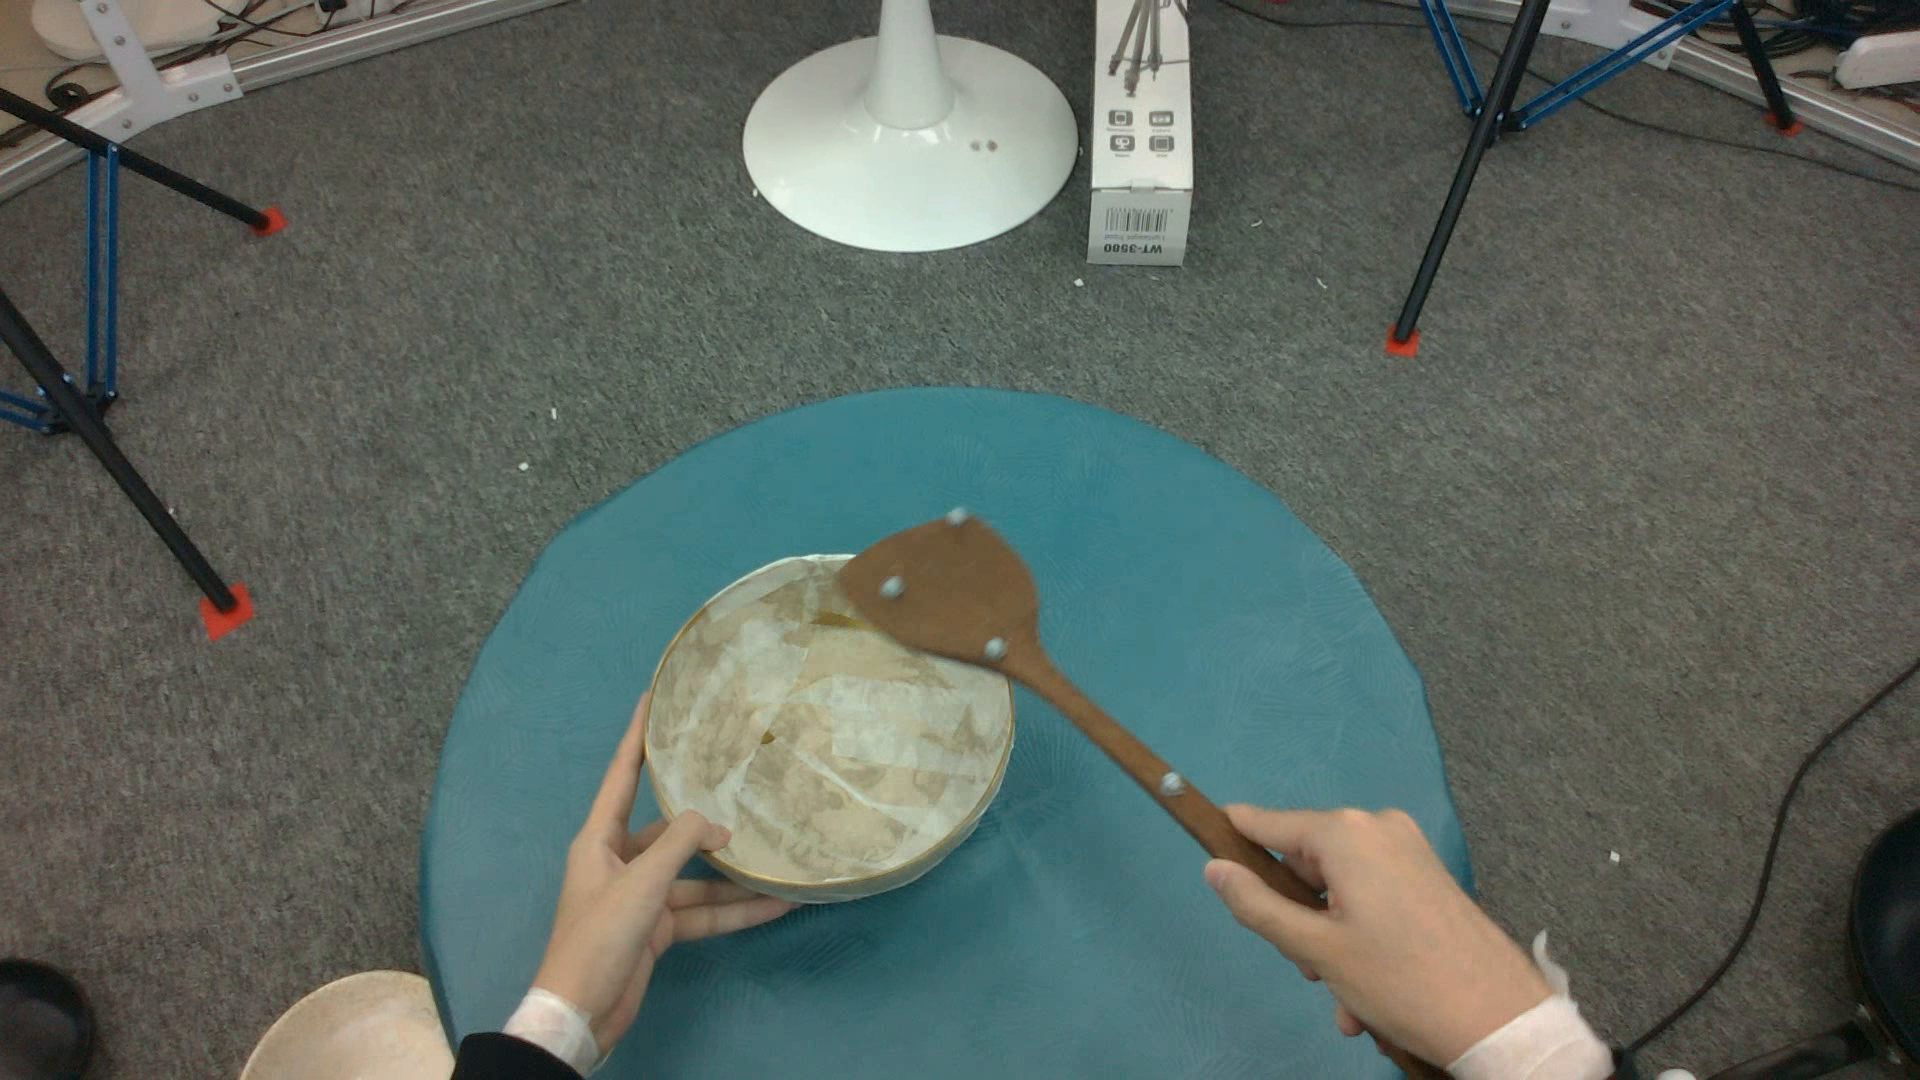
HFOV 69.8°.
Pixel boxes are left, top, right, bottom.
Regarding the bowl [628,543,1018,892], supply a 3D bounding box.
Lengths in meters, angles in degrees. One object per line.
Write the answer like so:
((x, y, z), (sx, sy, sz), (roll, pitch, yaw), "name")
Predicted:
((-0.075, 0.112, 0.772), (0.215, 0.094, 0.215), (1, 55, -2), "bowl")

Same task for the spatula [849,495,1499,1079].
((0.083, 0.095, 0.616), (0.096, 0.016, 0.386), (-23, 47, -27), "spatula")
